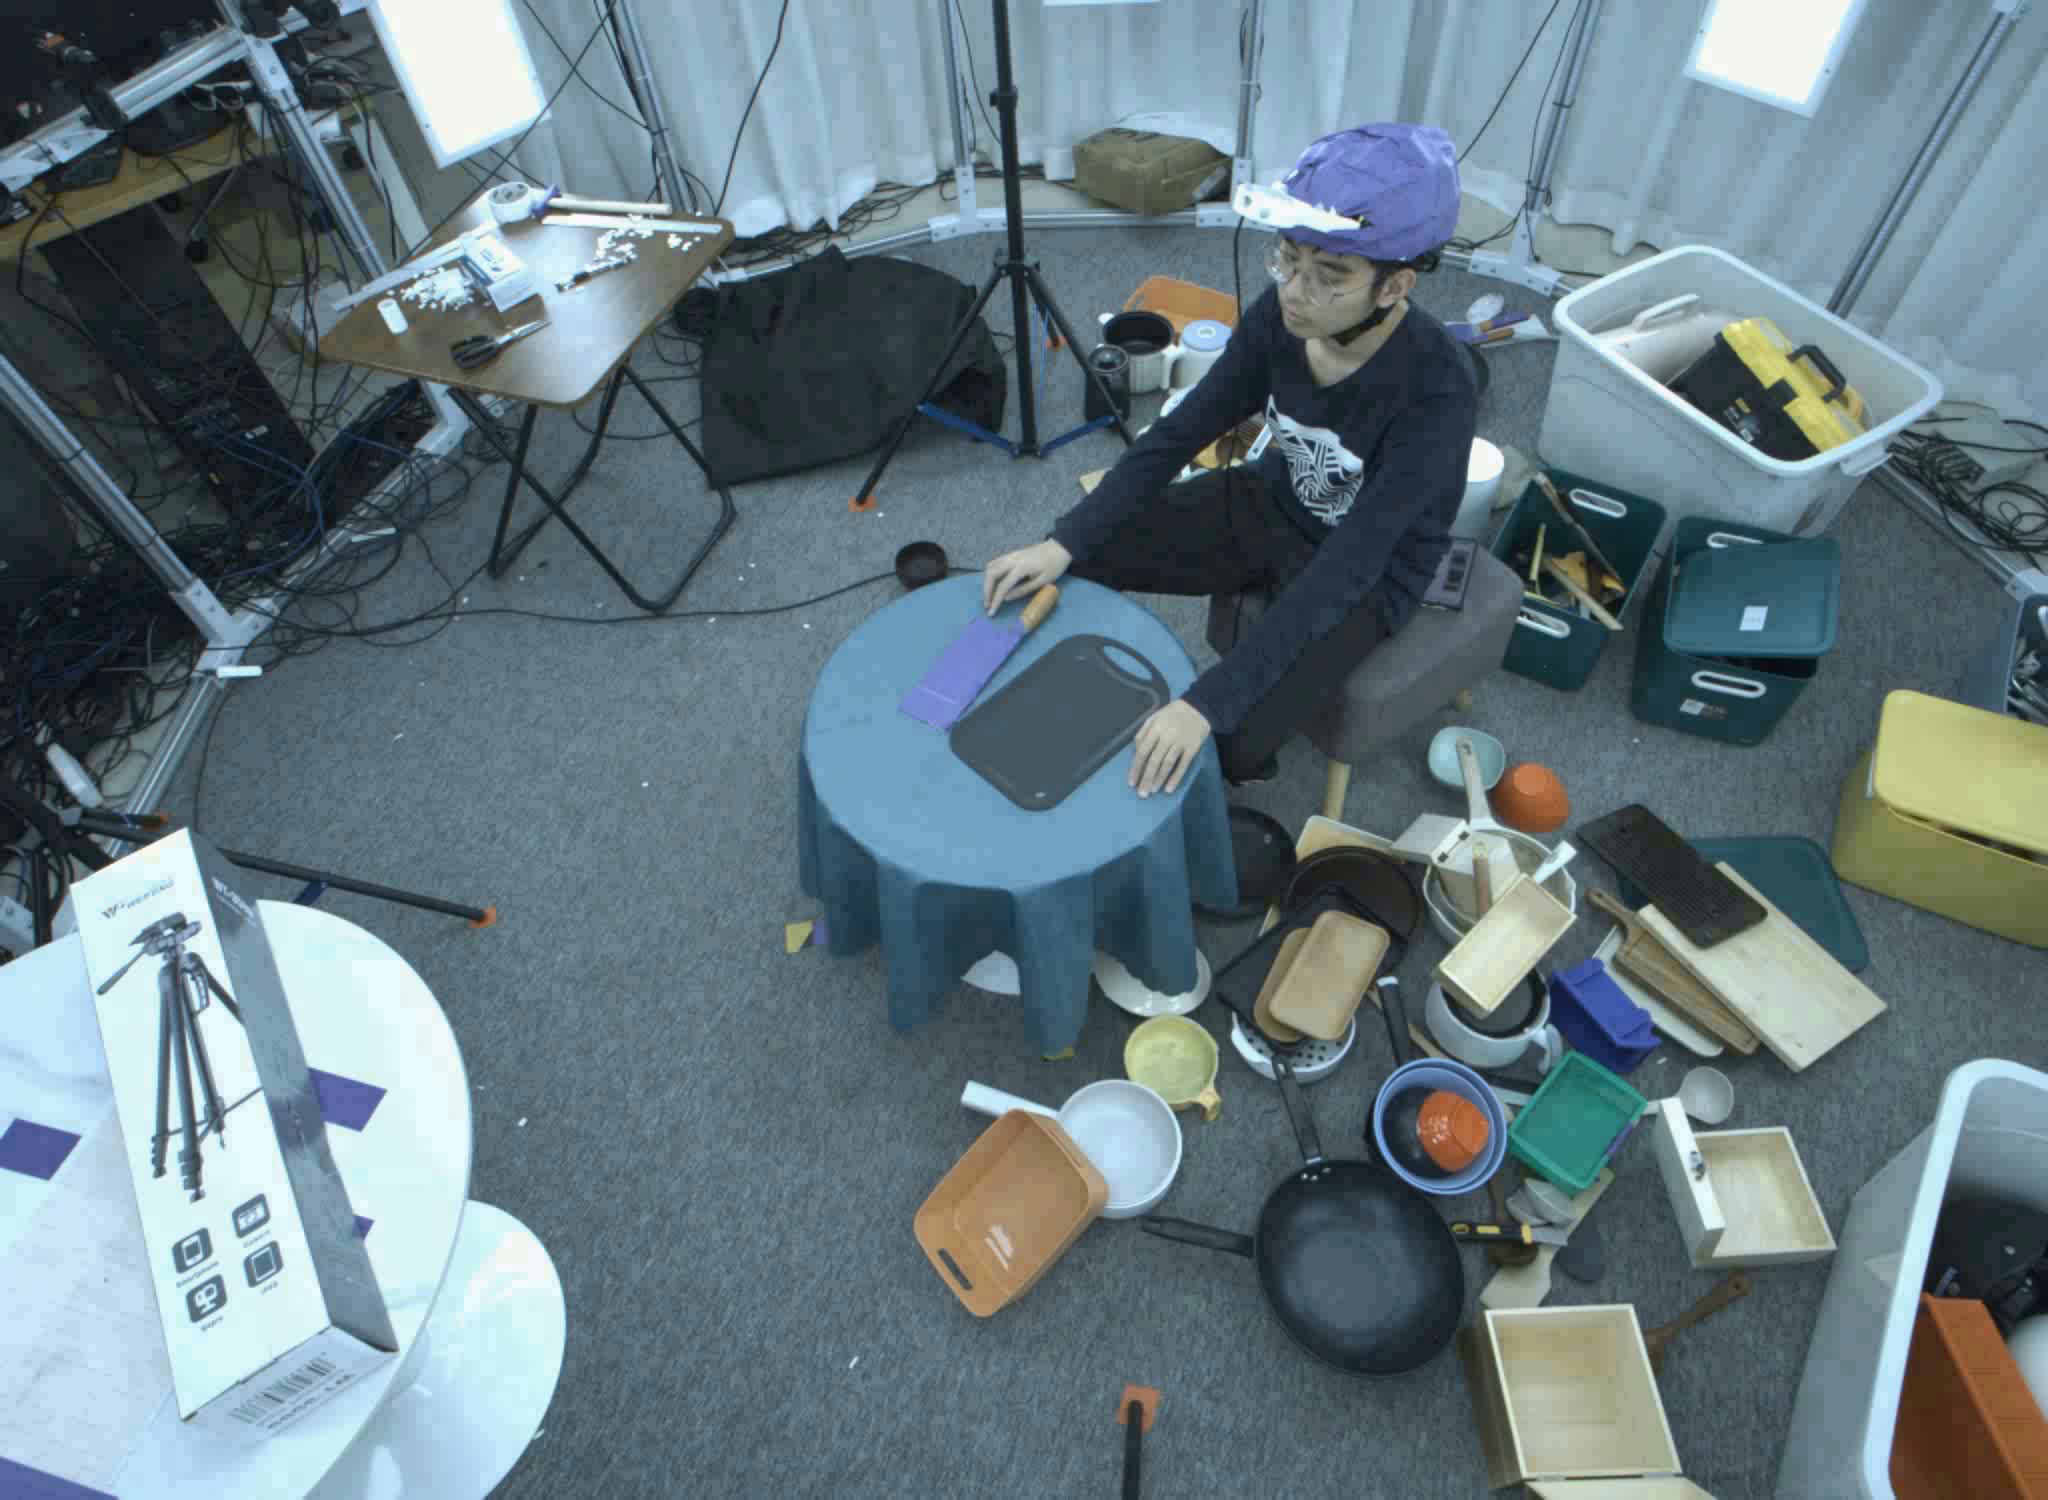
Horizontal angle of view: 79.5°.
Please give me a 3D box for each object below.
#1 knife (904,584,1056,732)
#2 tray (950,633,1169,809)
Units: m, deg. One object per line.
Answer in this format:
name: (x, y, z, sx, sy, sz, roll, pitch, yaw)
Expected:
knife: (-0.069, -0.157, 1.892, 0.102, 0.032, 0.316, 27, 60, 19)
tray: (0.059, -0.056, 1.830, 0.328, 0.010, 0.207, -39, 63, -24)
